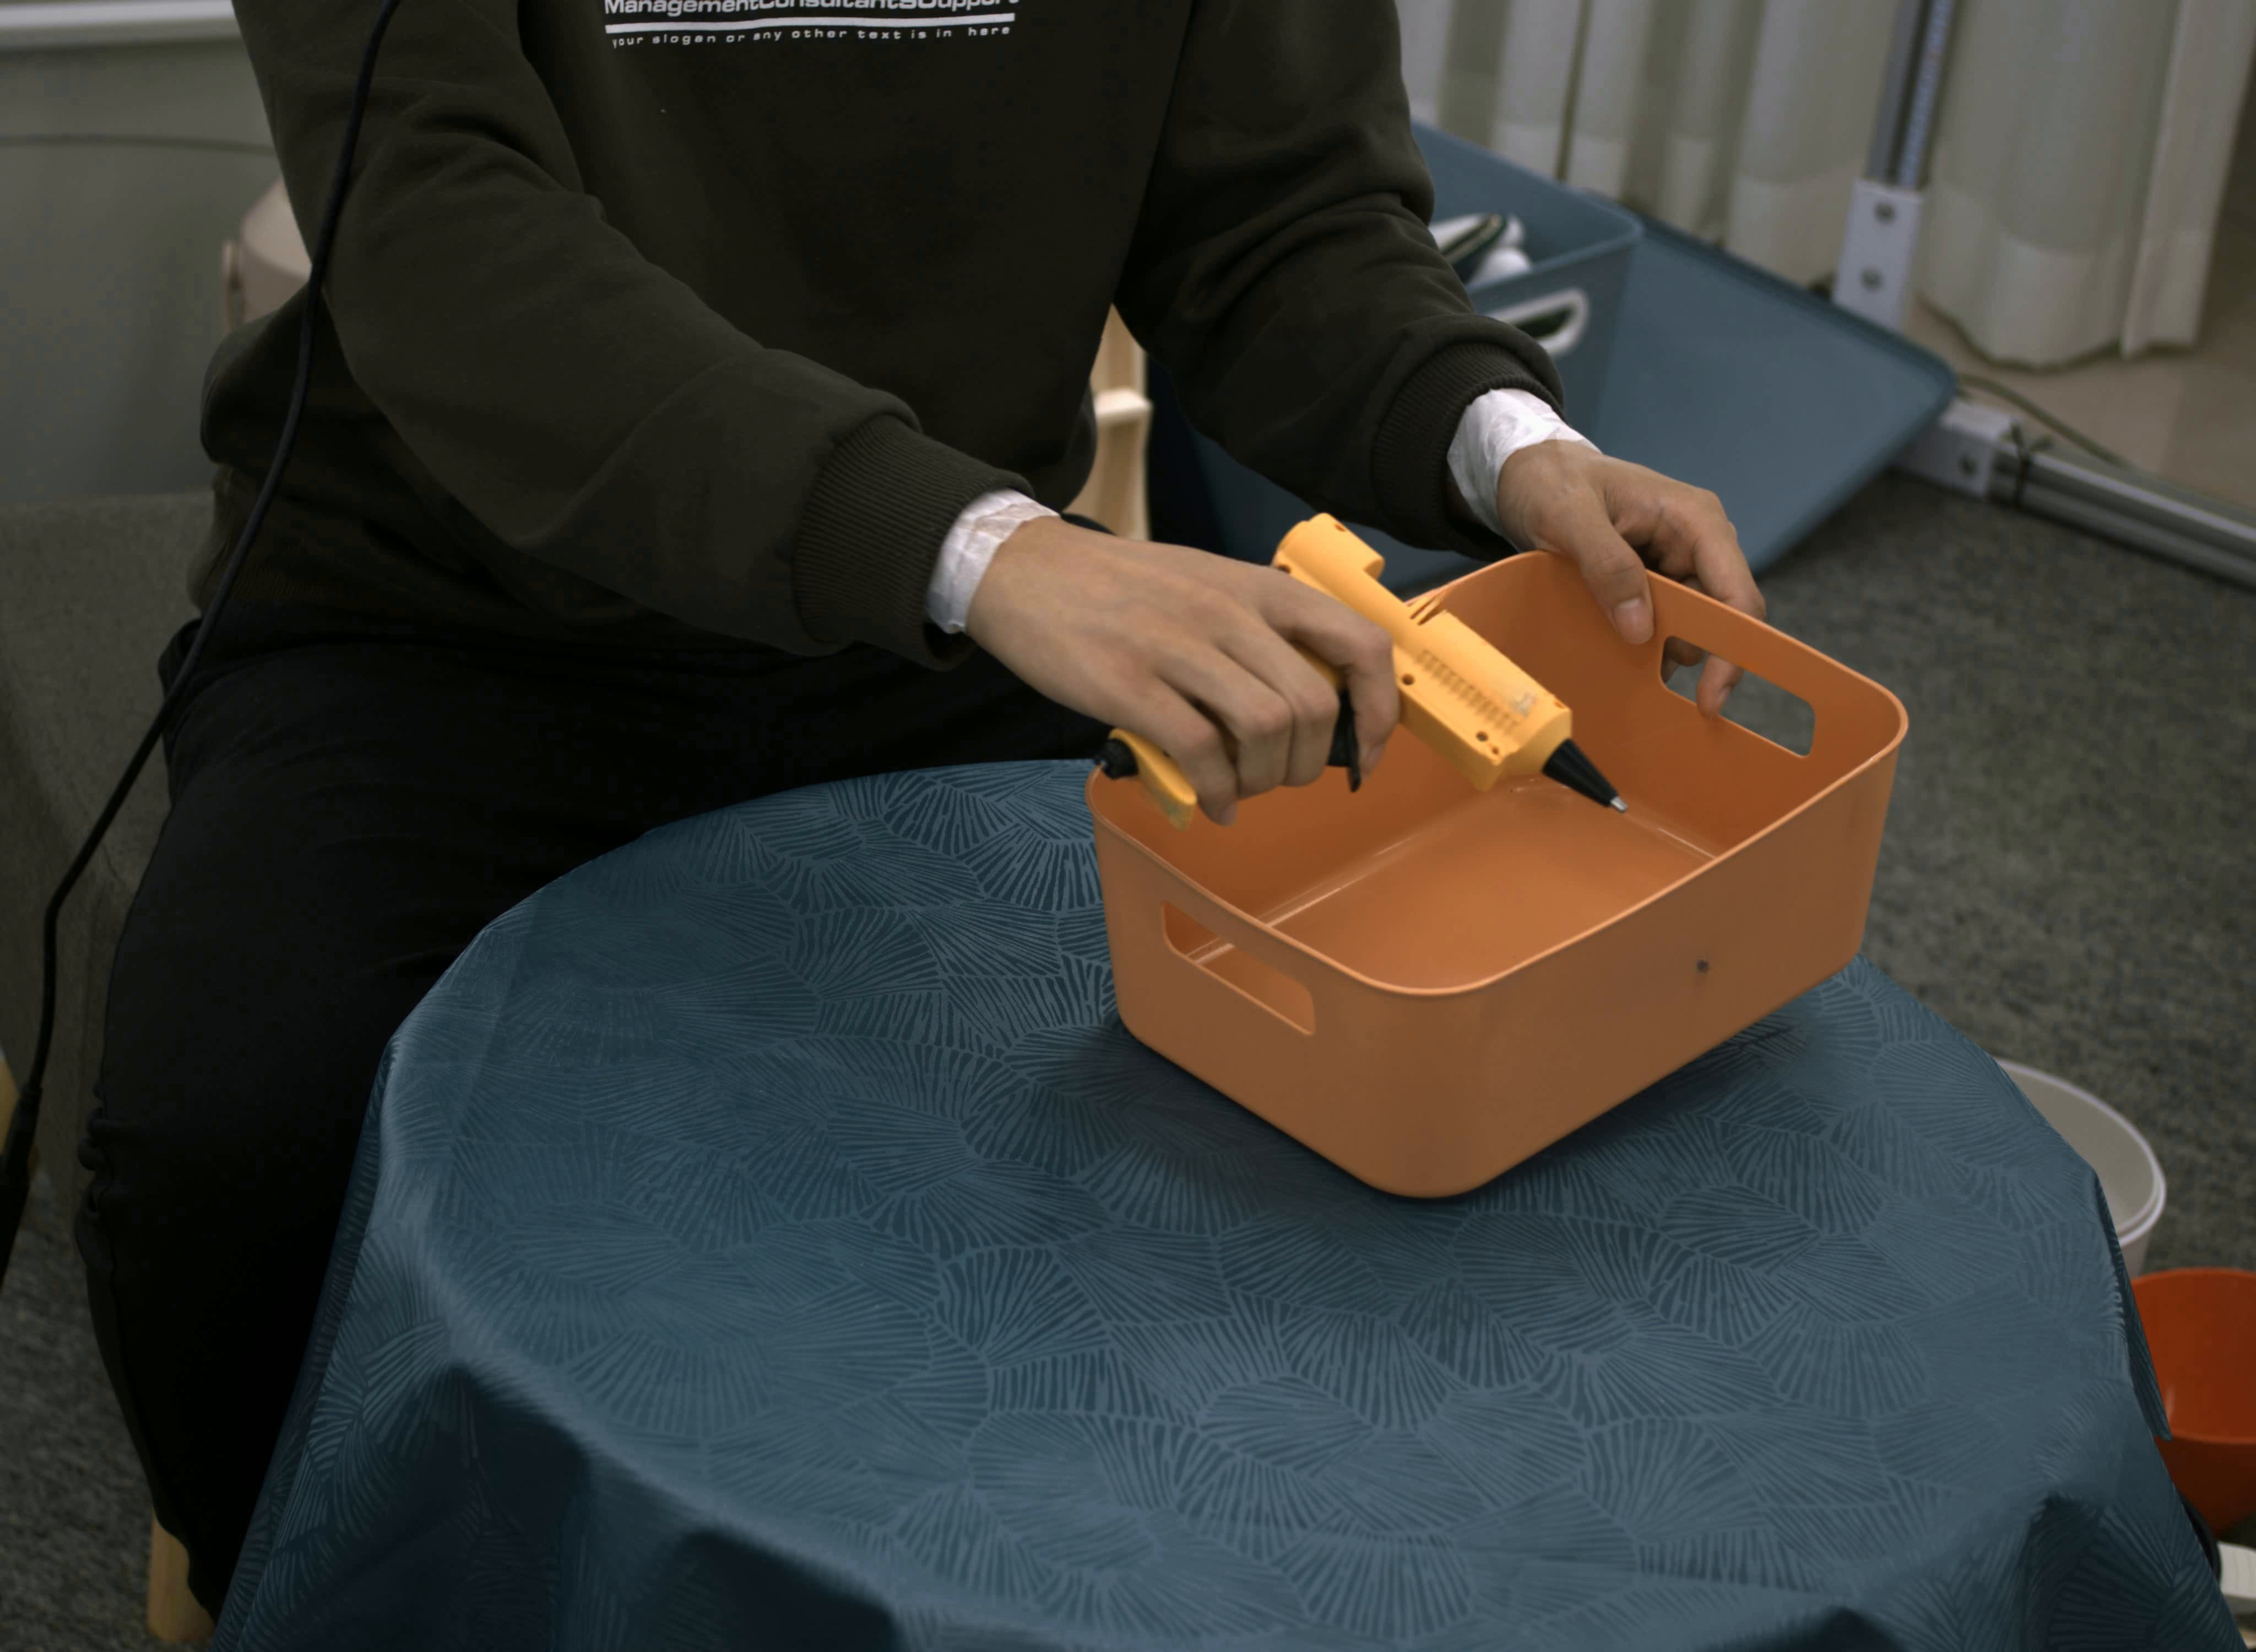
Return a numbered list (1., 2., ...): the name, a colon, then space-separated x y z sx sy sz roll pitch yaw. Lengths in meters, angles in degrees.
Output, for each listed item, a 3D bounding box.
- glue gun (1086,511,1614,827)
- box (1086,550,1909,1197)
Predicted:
1. glue gun: 0.082 -0.024 1.802 0.152 0.031 0.133 35 60 12
2. box: 0.132 0.016 1.907 0.272 0.102 0.201 -28 41 -35
